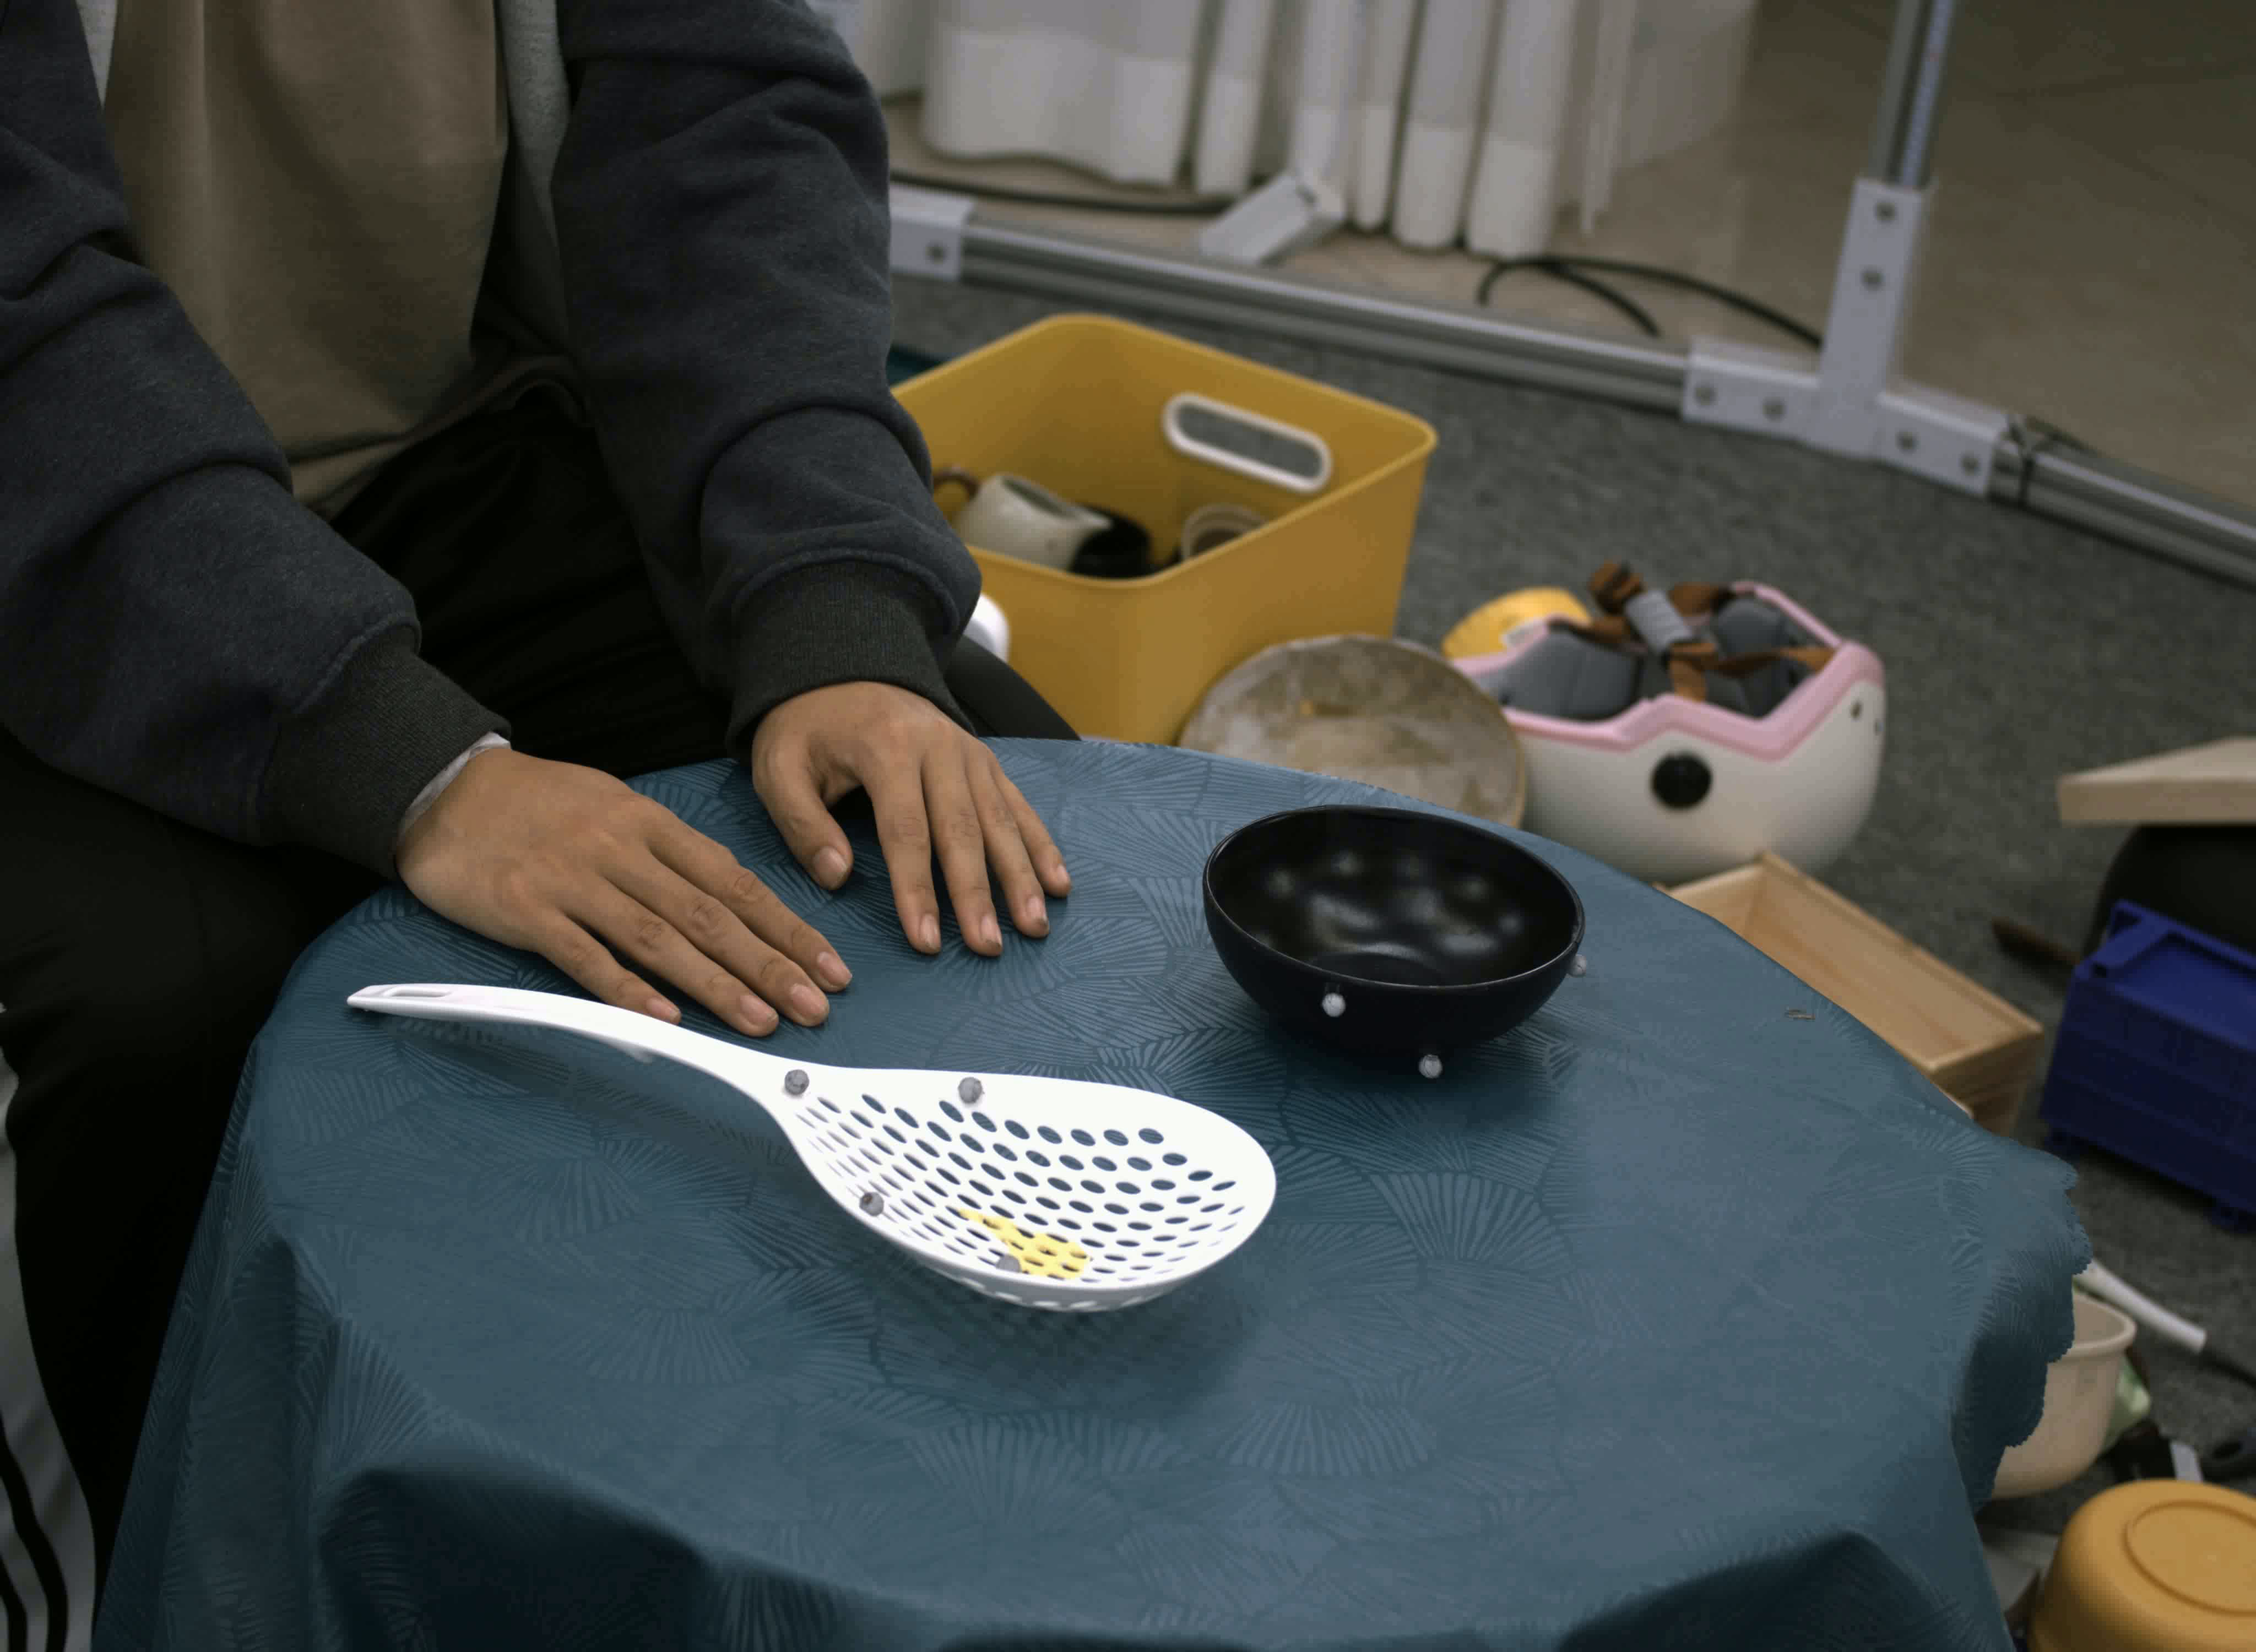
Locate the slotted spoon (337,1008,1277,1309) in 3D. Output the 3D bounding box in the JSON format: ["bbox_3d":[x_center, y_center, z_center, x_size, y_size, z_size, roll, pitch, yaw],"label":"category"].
[{"bbox_3d":[-0.116,0.097,1.784,0.349,0.050,0.137,18,32,23],"label":"slotted spoon"}]
